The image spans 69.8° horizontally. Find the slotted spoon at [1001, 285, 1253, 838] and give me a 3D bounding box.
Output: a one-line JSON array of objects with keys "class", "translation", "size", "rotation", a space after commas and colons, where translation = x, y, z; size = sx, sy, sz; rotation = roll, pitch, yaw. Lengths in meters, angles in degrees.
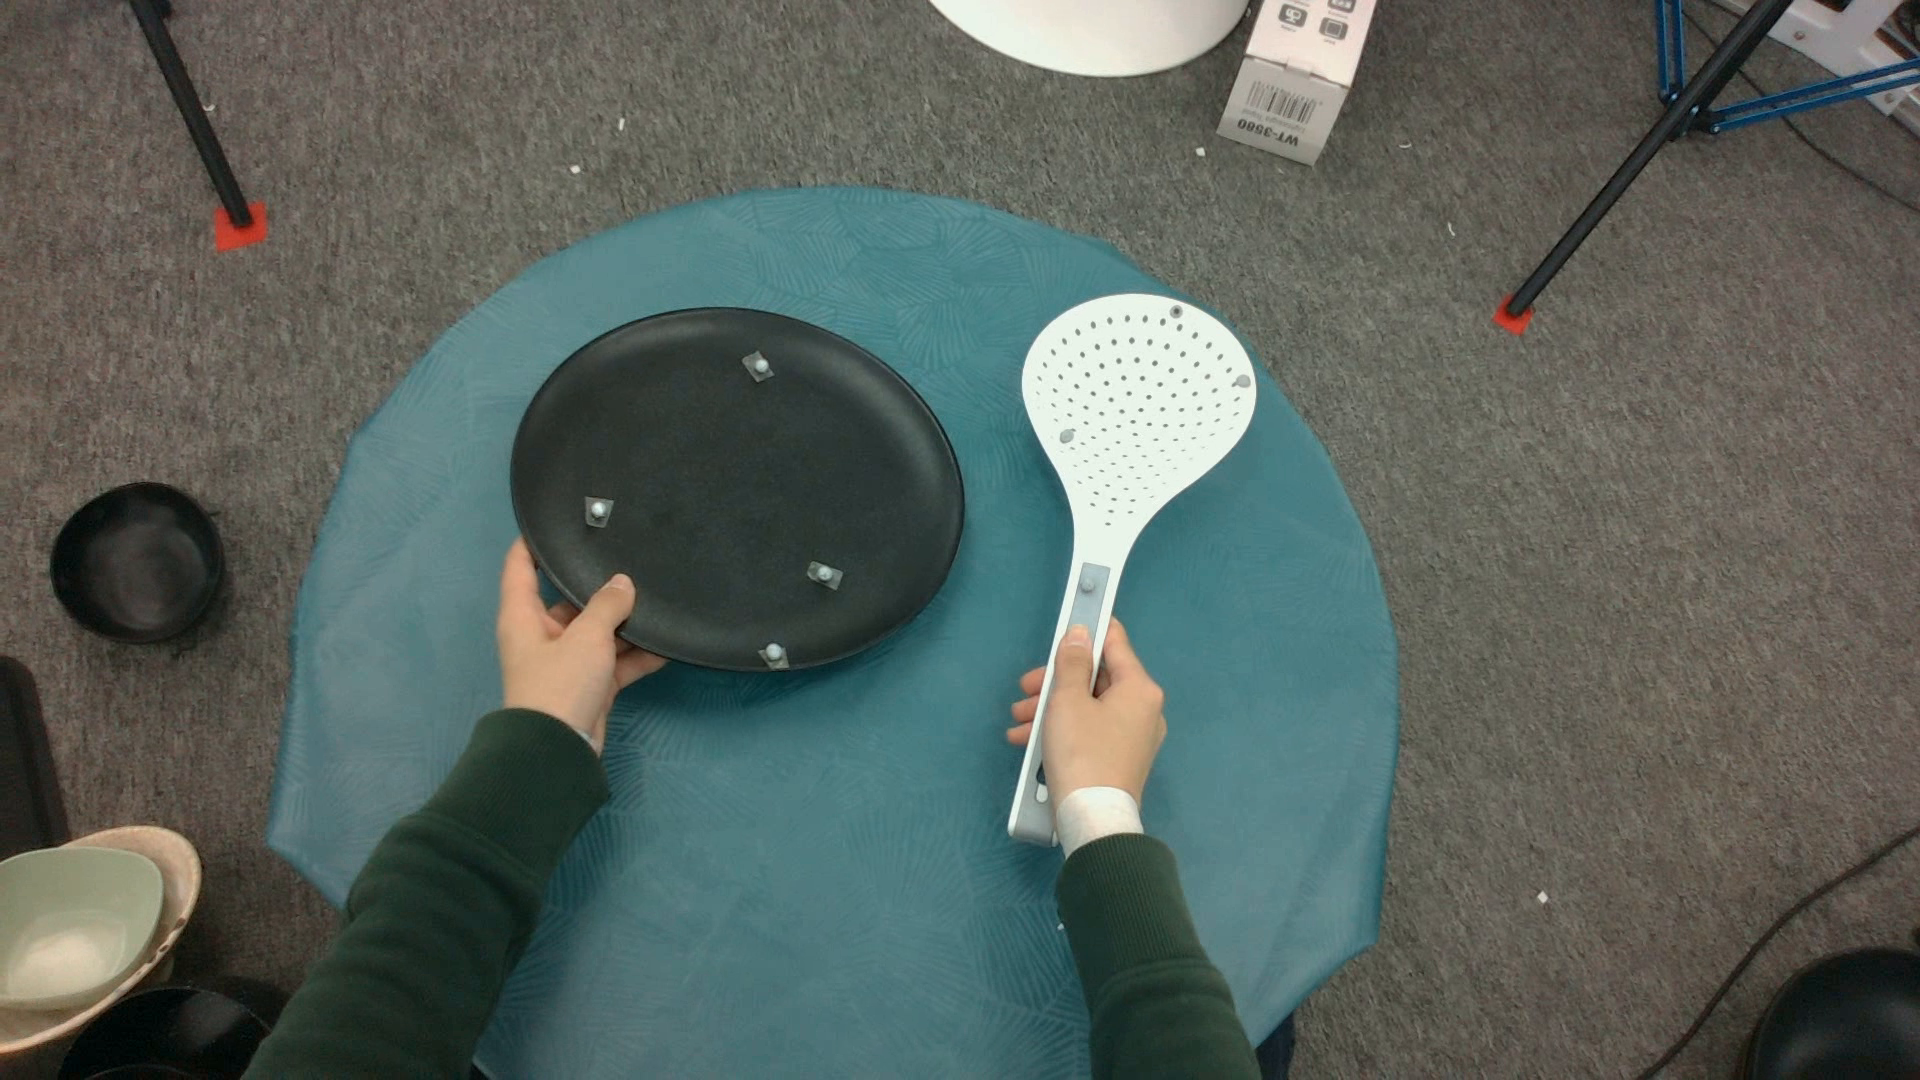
[{"class": "slotted spoon", "translation": [0.077, -0.003, 0.759], "size": [0.136, 0.045, 0.351], "rotation": [11, 56, 10]}]

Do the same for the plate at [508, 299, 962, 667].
[{"class": "plate", "translation": [-0.119, -0.035, 0.754], "size": [0.244, 0.023, 0.245], "rotation": [8, 55, -11]}]
